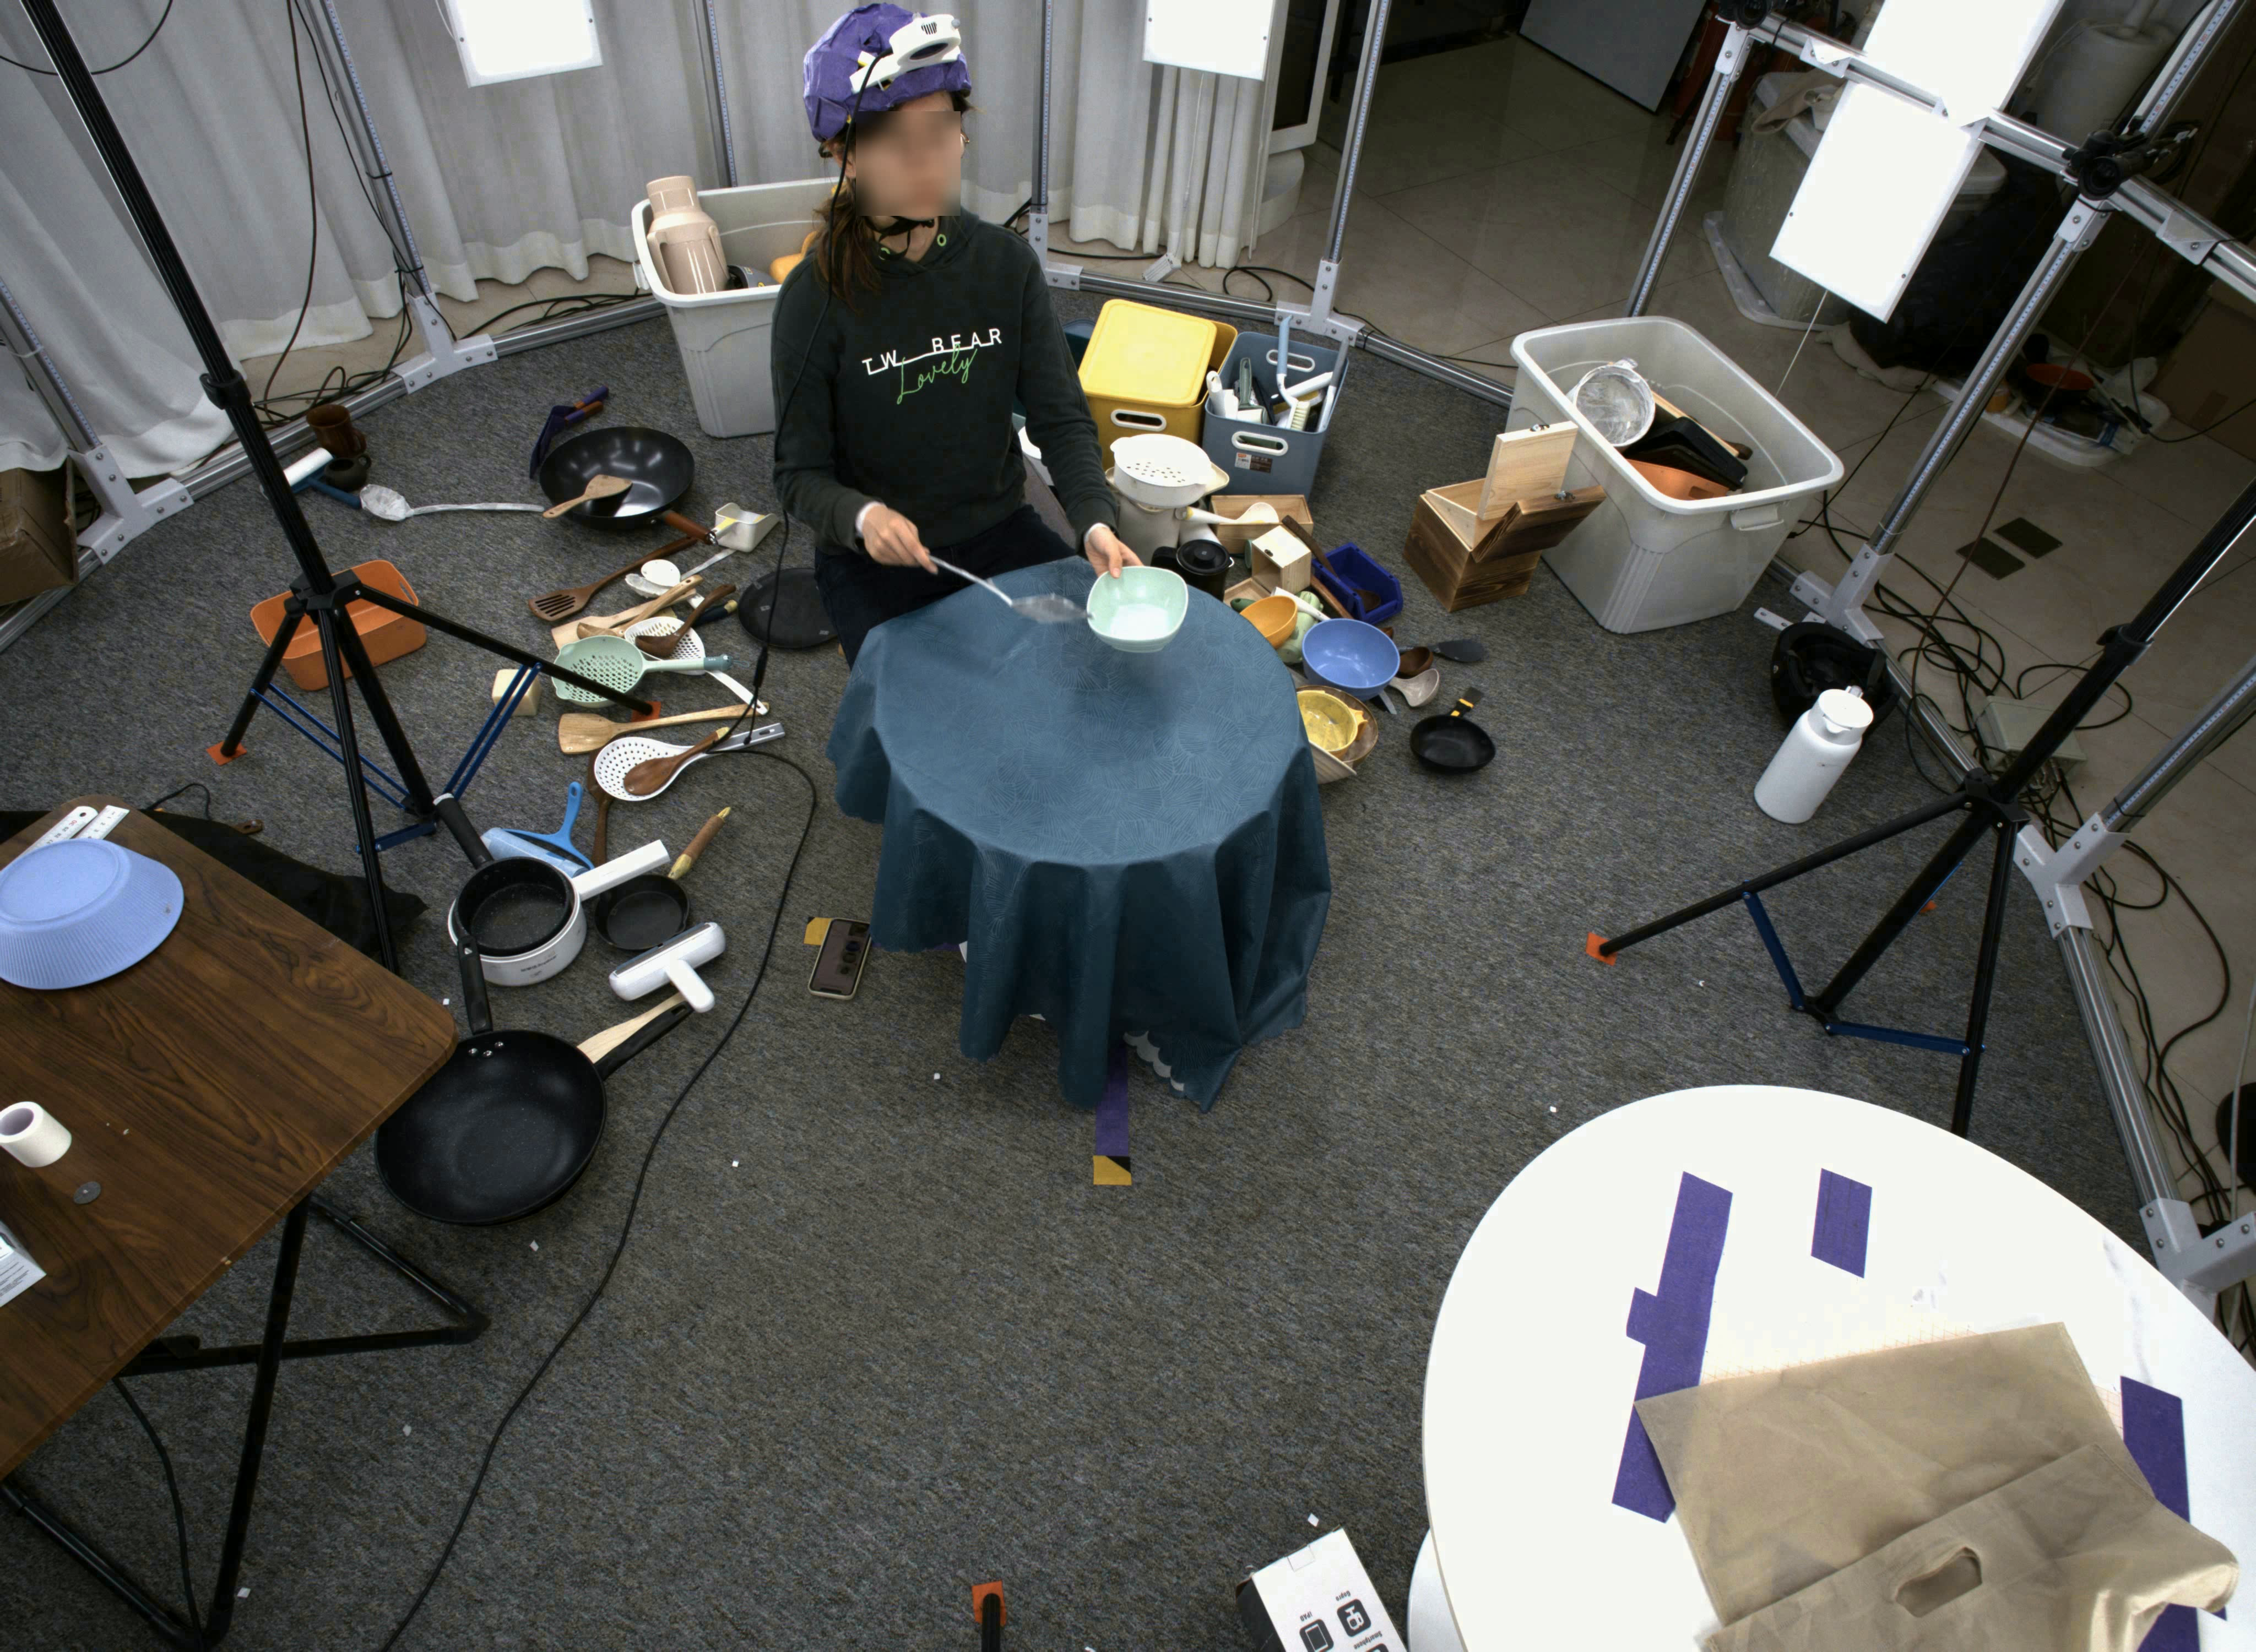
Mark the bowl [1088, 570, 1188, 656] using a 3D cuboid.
[{"bbox_3d":[0.015,-0.291,1.814,0.151,0.057,0.155,-1,54,2],"label":"bowl"}]

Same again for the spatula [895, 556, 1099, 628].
[{"bbox_3d":[-0.194,-0.323,1.728,0.370,0.044,0.098,30,11,34],"label":"spatula"}]
